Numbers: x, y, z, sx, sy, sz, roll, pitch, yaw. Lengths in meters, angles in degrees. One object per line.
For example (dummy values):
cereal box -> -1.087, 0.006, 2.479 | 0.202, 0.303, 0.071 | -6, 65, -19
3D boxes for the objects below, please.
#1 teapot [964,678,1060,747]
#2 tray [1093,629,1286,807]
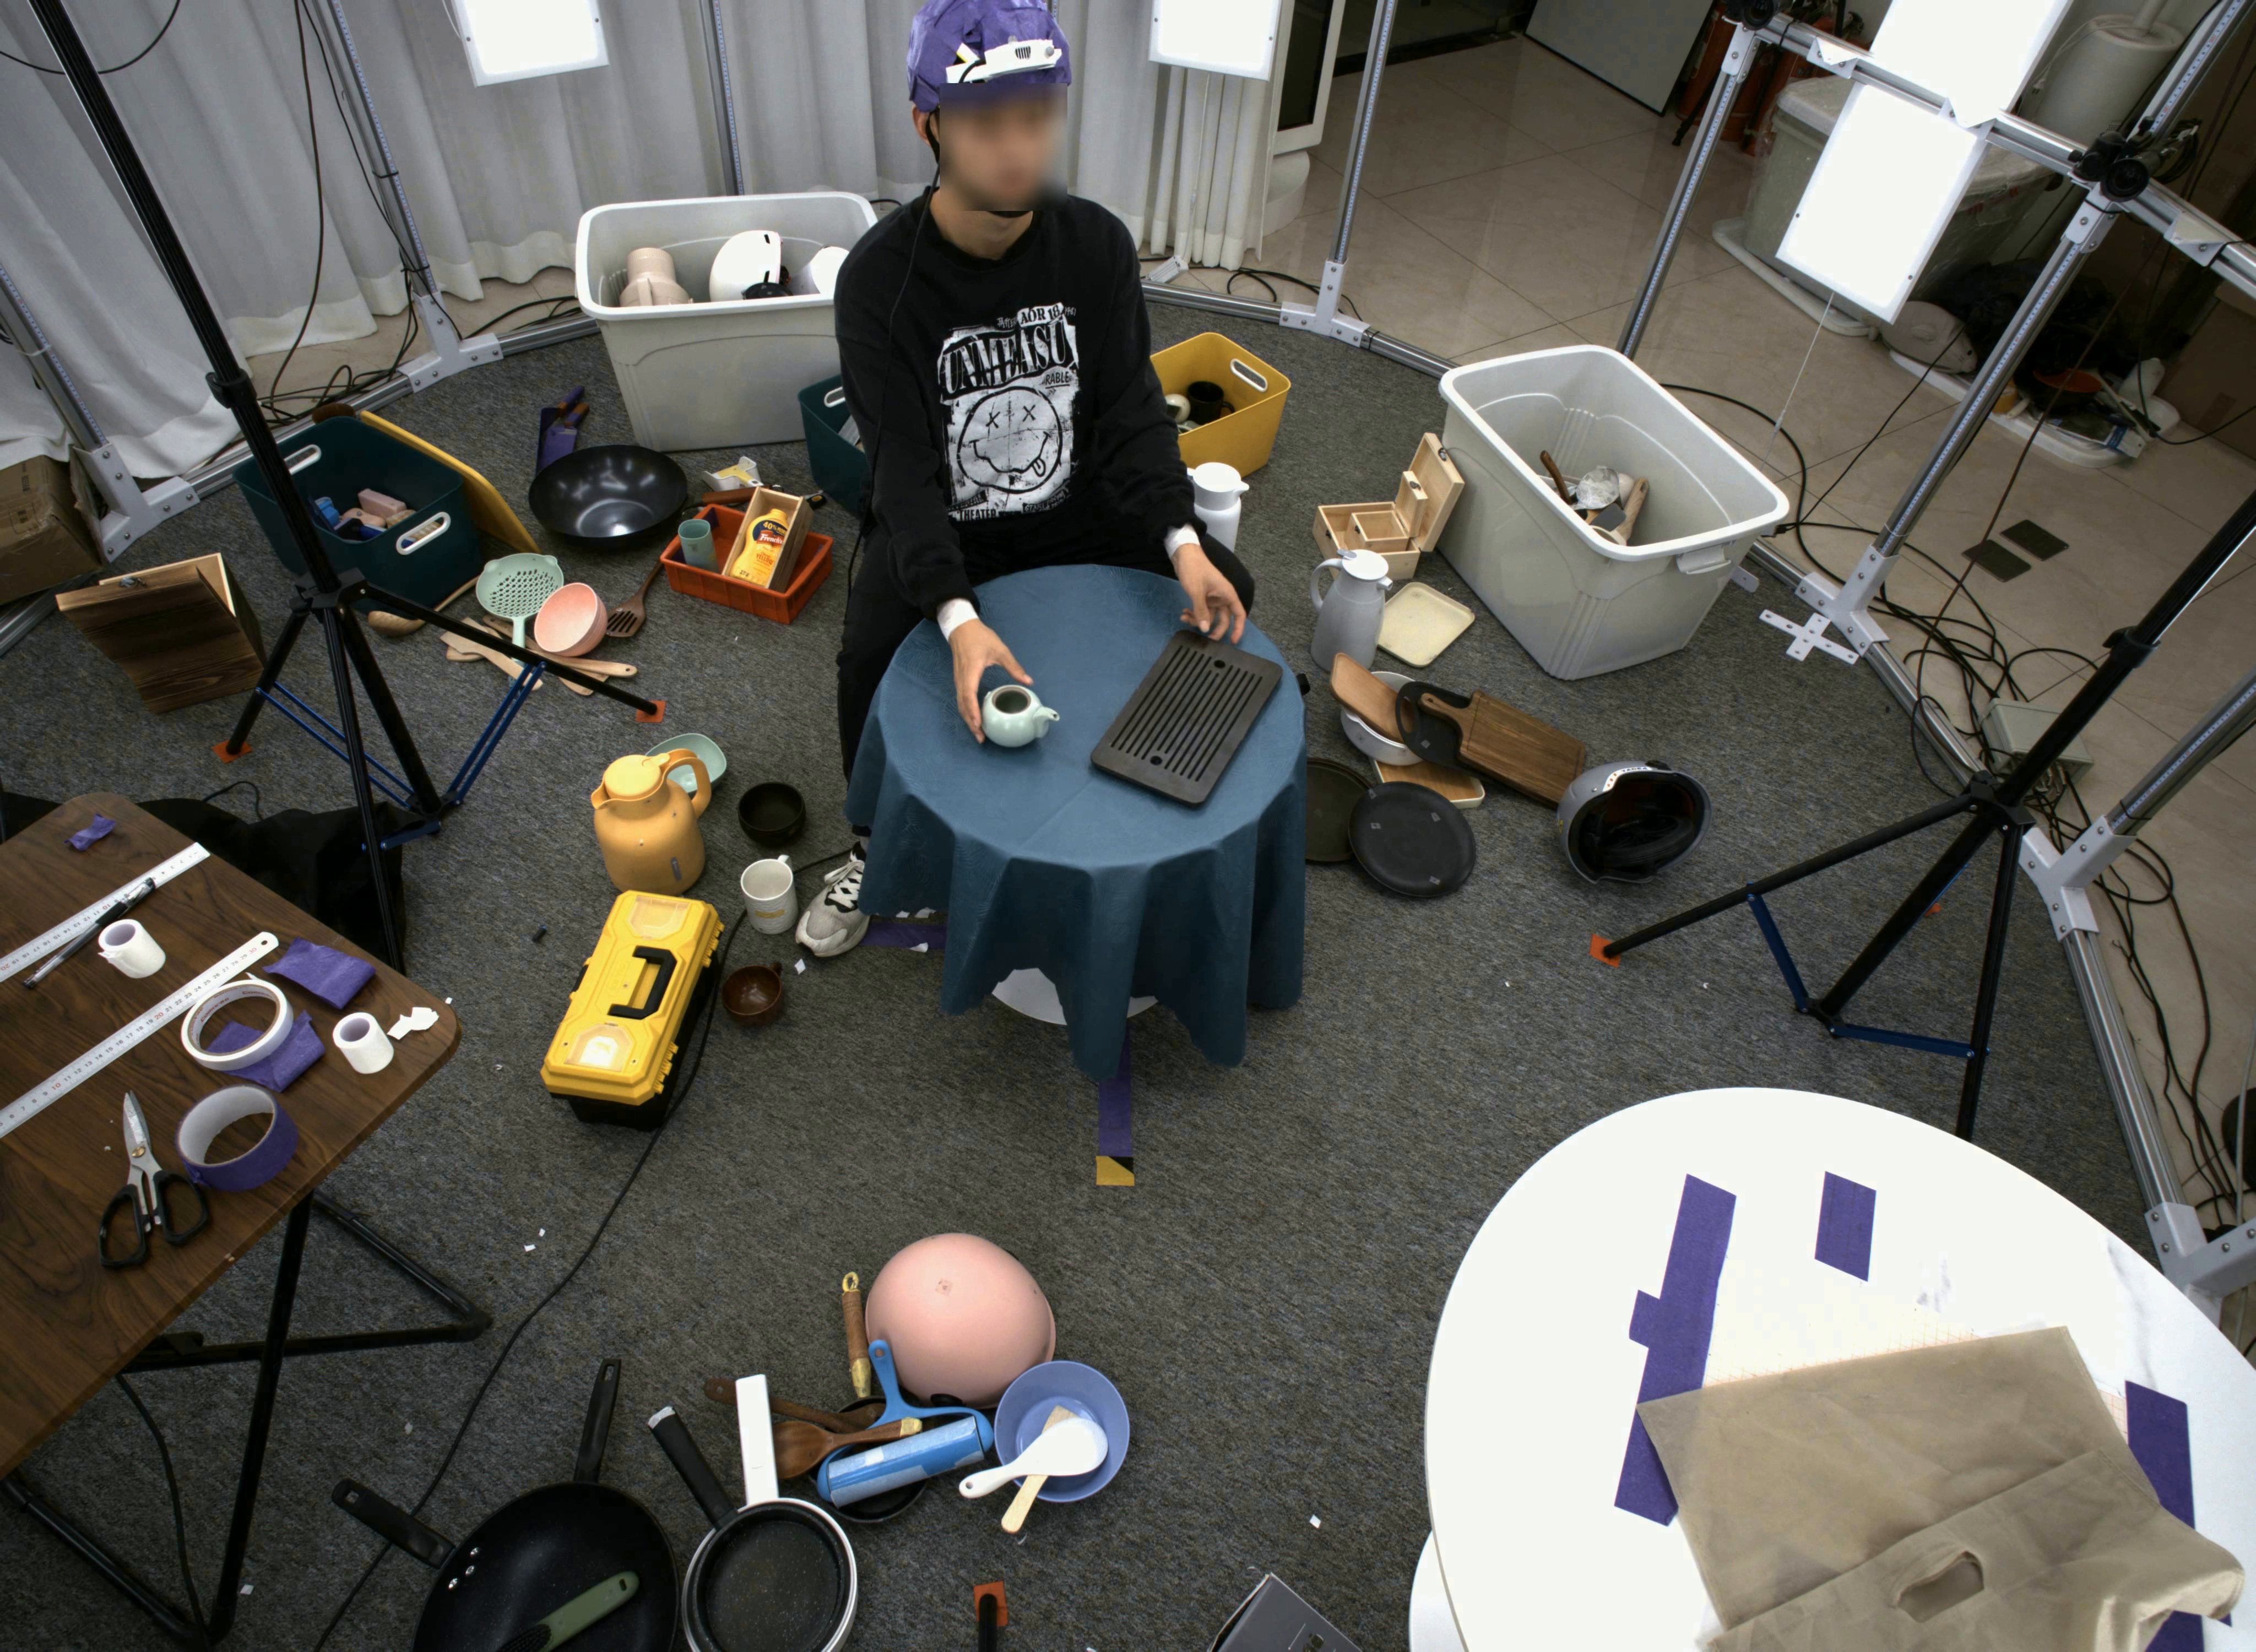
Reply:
teapot -> -0.157, -0.151, 1.743 | 0.145, 0.073, 0.090 | 24, 52, 15
tray -> 0.091, -0.156, 1.797 | 0.171, 0.018, 0.311 | 22, 51, 15
